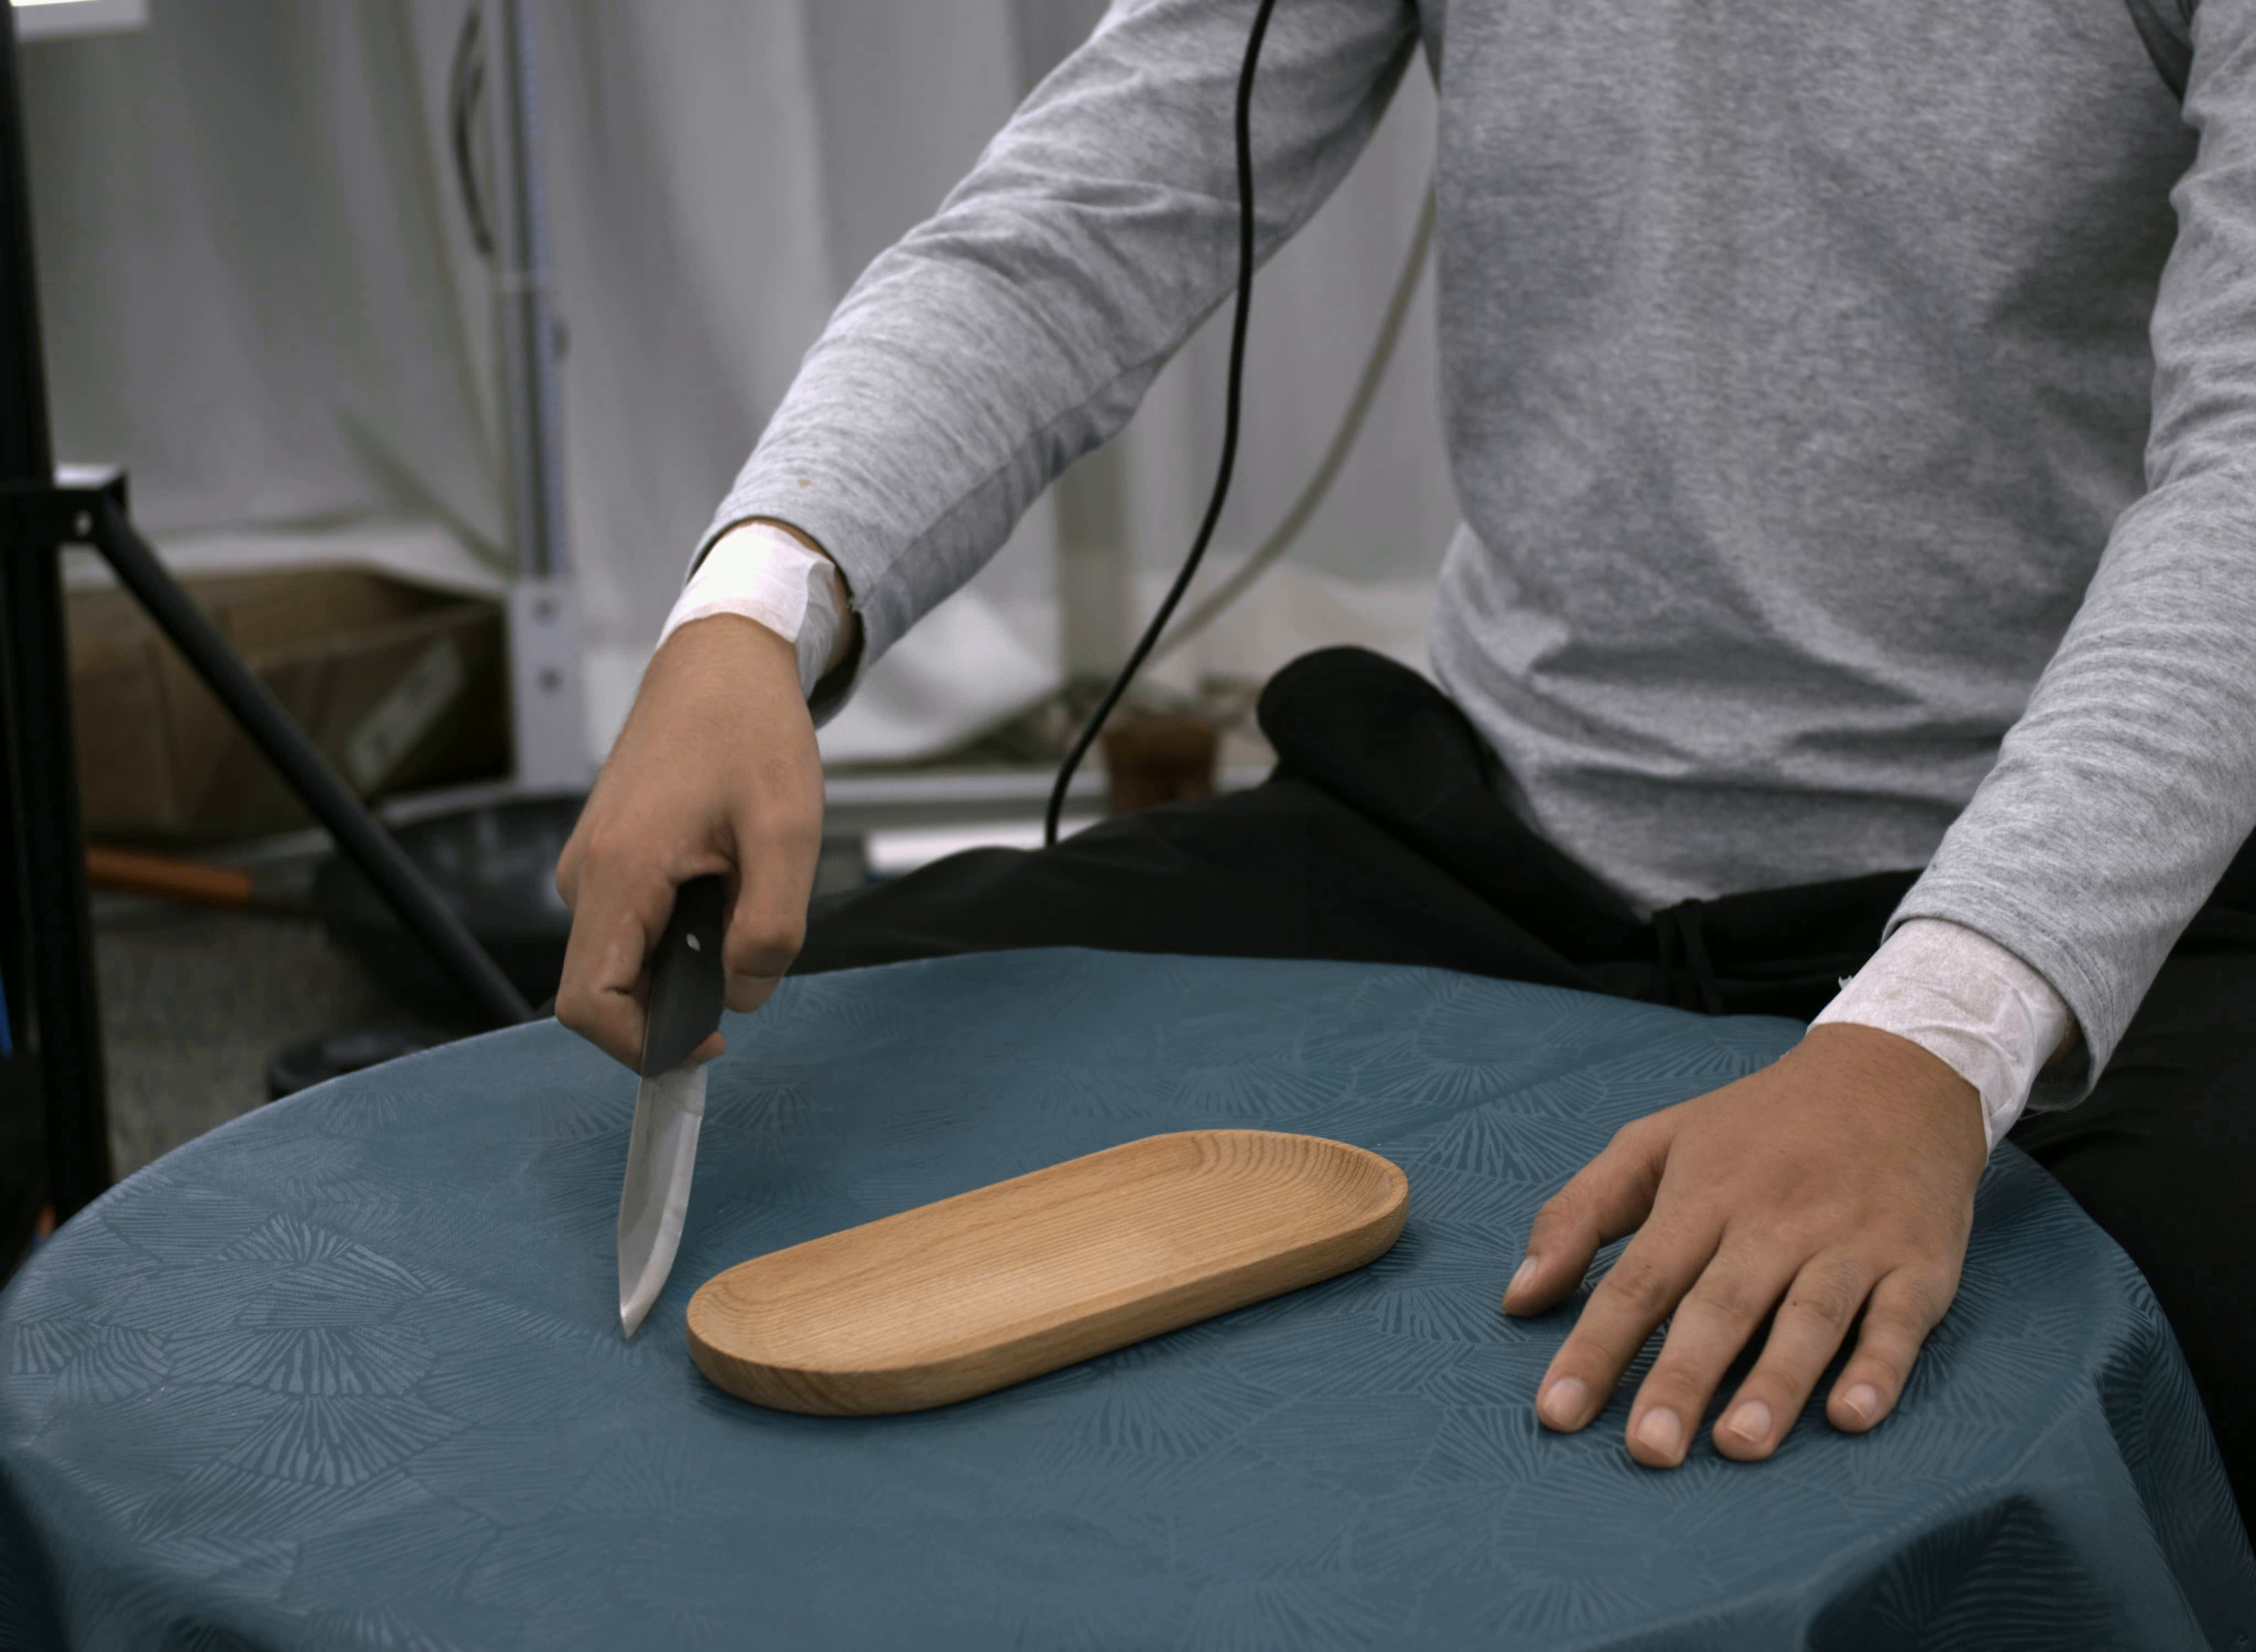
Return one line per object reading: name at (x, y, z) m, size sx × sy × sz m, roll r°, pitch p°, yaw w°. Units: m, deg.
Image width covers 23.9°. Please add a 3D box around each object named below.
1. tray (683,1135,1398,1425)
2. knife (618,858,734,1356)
tray at (-0.021, 0.125, 1.477) m, size 0.226 × 0.020 × 0.104 m, roll -17°, pitch 20°, yaw -38°
knife at (-0.134, 0.078, 1.558) m, size 0.024 × 0.016 × 0.240 m, roll 31°, pitch 29°, yaw -18°
